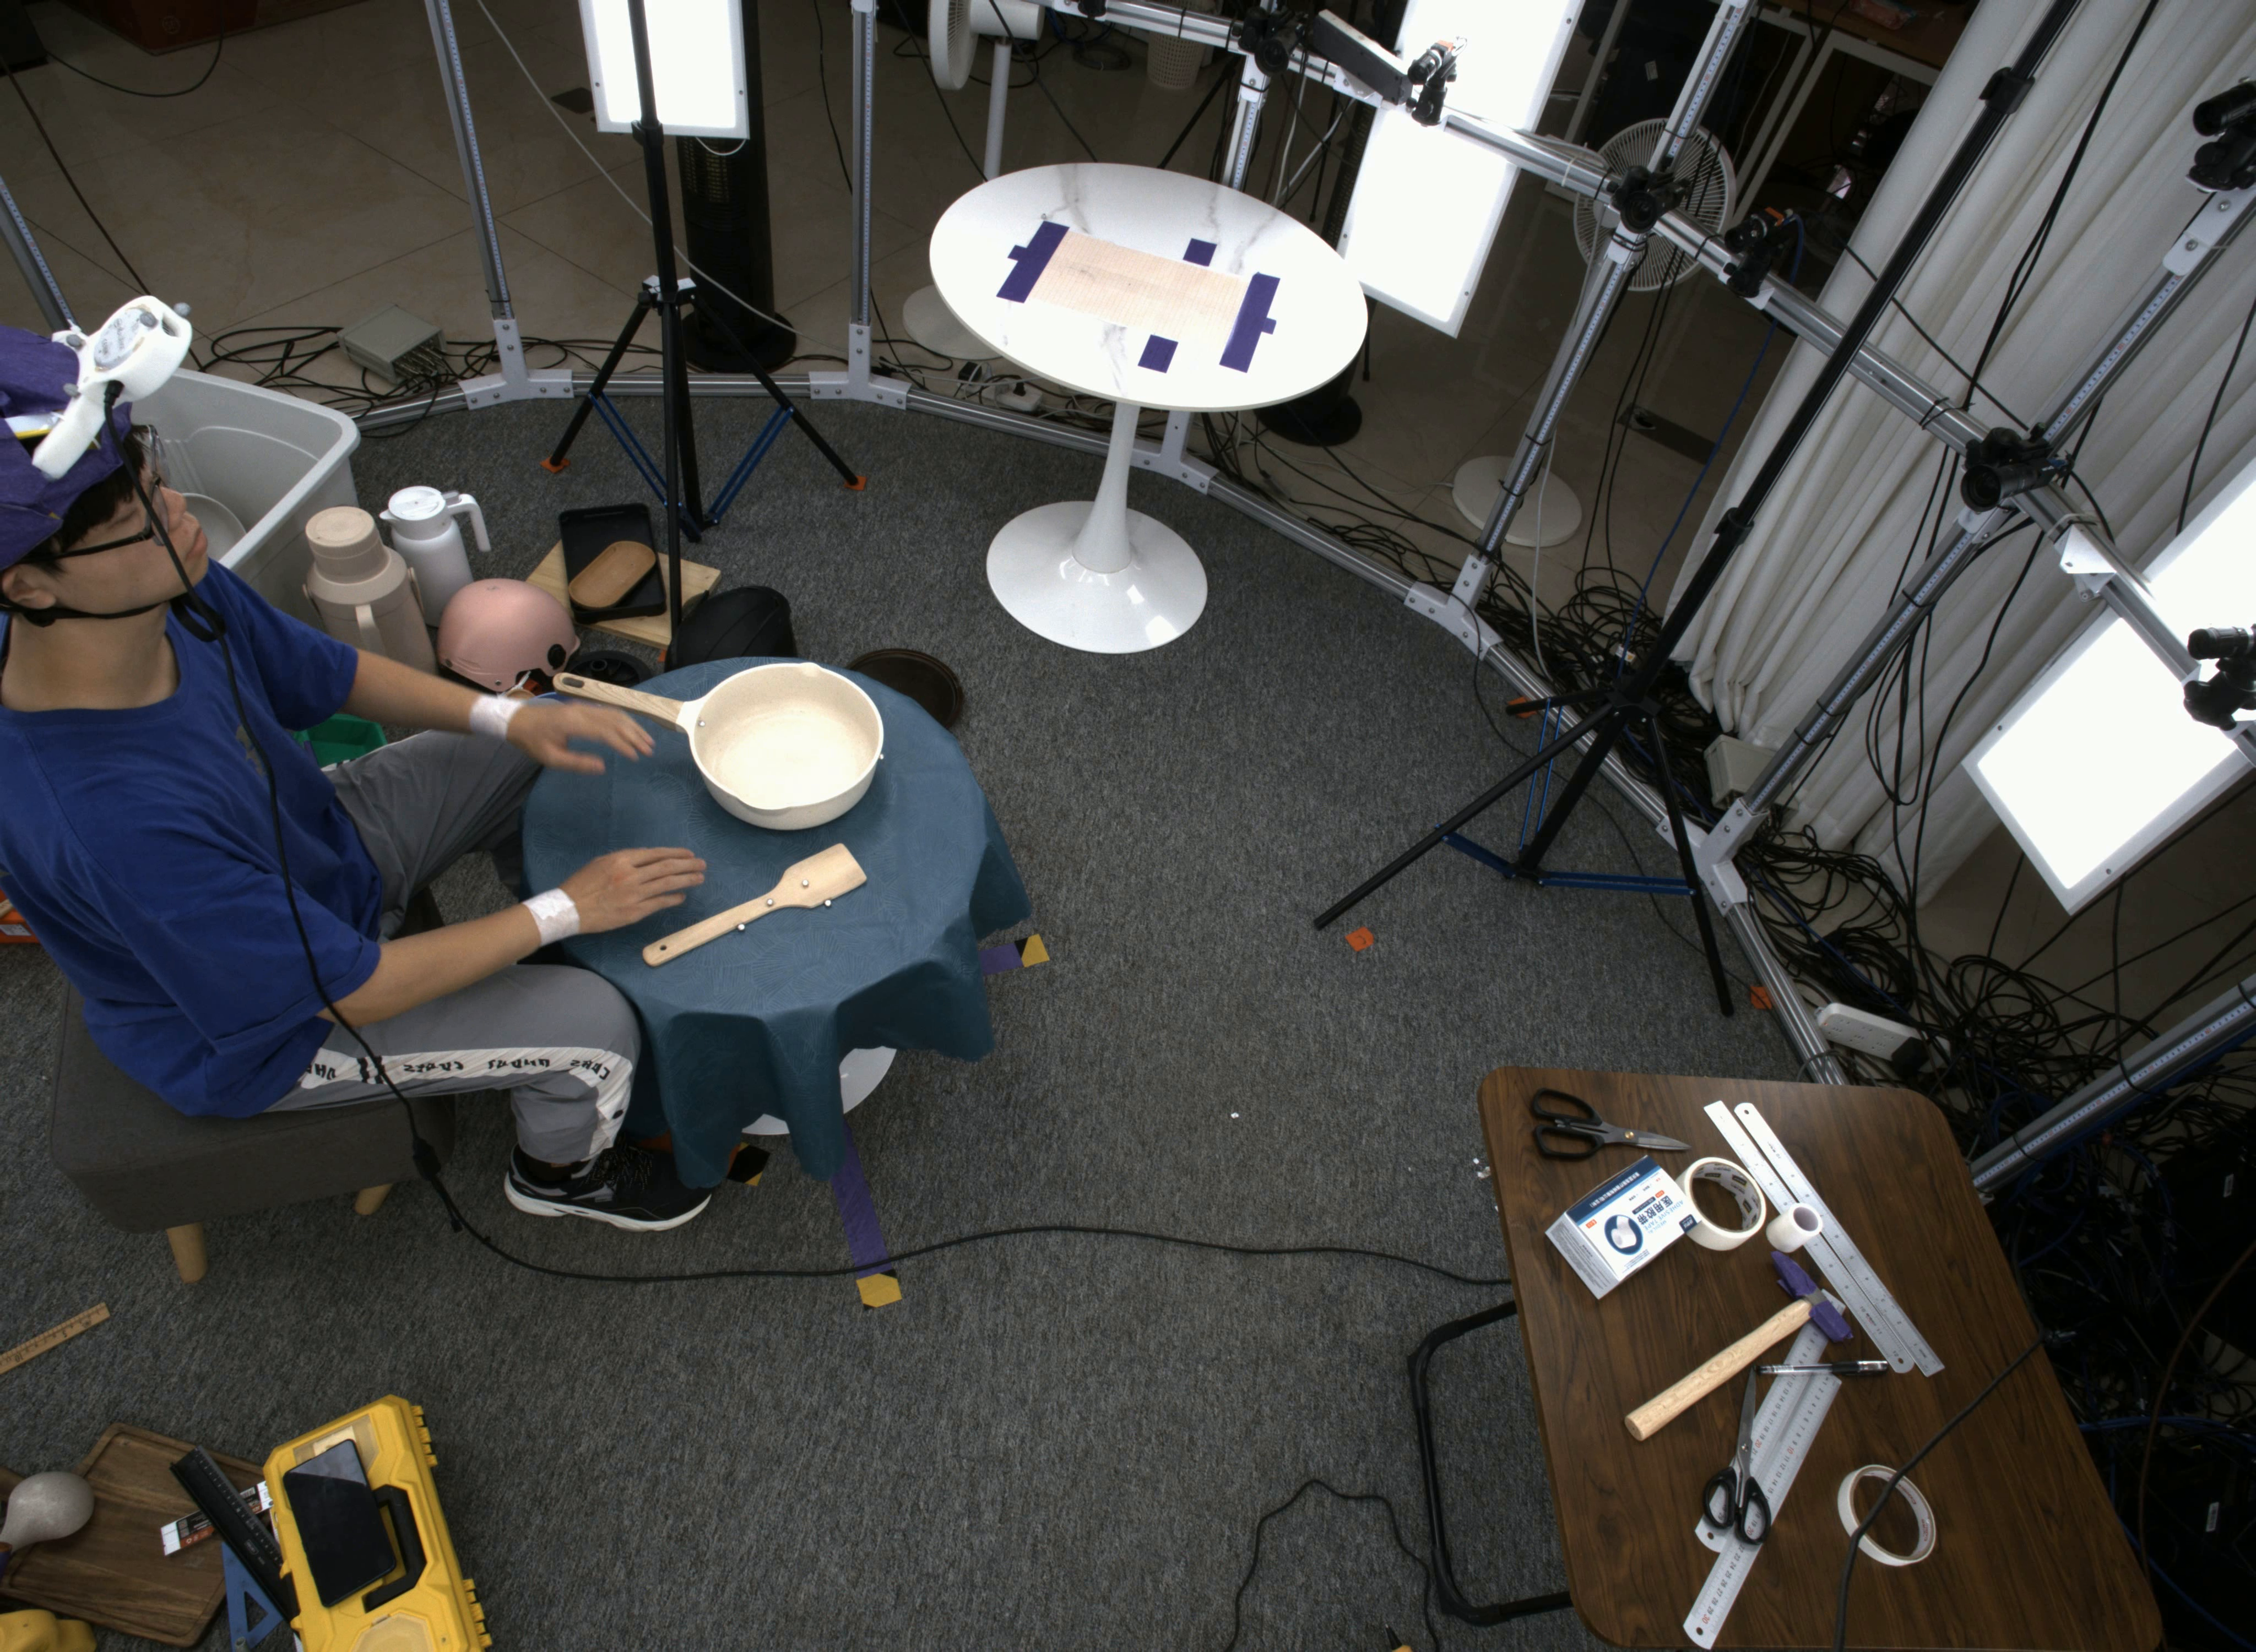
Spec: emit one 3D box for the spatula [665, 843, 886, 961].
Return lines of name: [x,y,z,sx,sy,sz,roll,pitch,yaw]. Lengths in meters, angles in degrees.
spatula: [-0.449,0.101,1.647,0.294,0.011,0.070,-26,65,-29]

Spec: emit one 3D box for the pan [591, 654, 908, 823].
pan: [-0.515,-0.132,1.744,0.433,0.104,0.259,10,54,-6]
